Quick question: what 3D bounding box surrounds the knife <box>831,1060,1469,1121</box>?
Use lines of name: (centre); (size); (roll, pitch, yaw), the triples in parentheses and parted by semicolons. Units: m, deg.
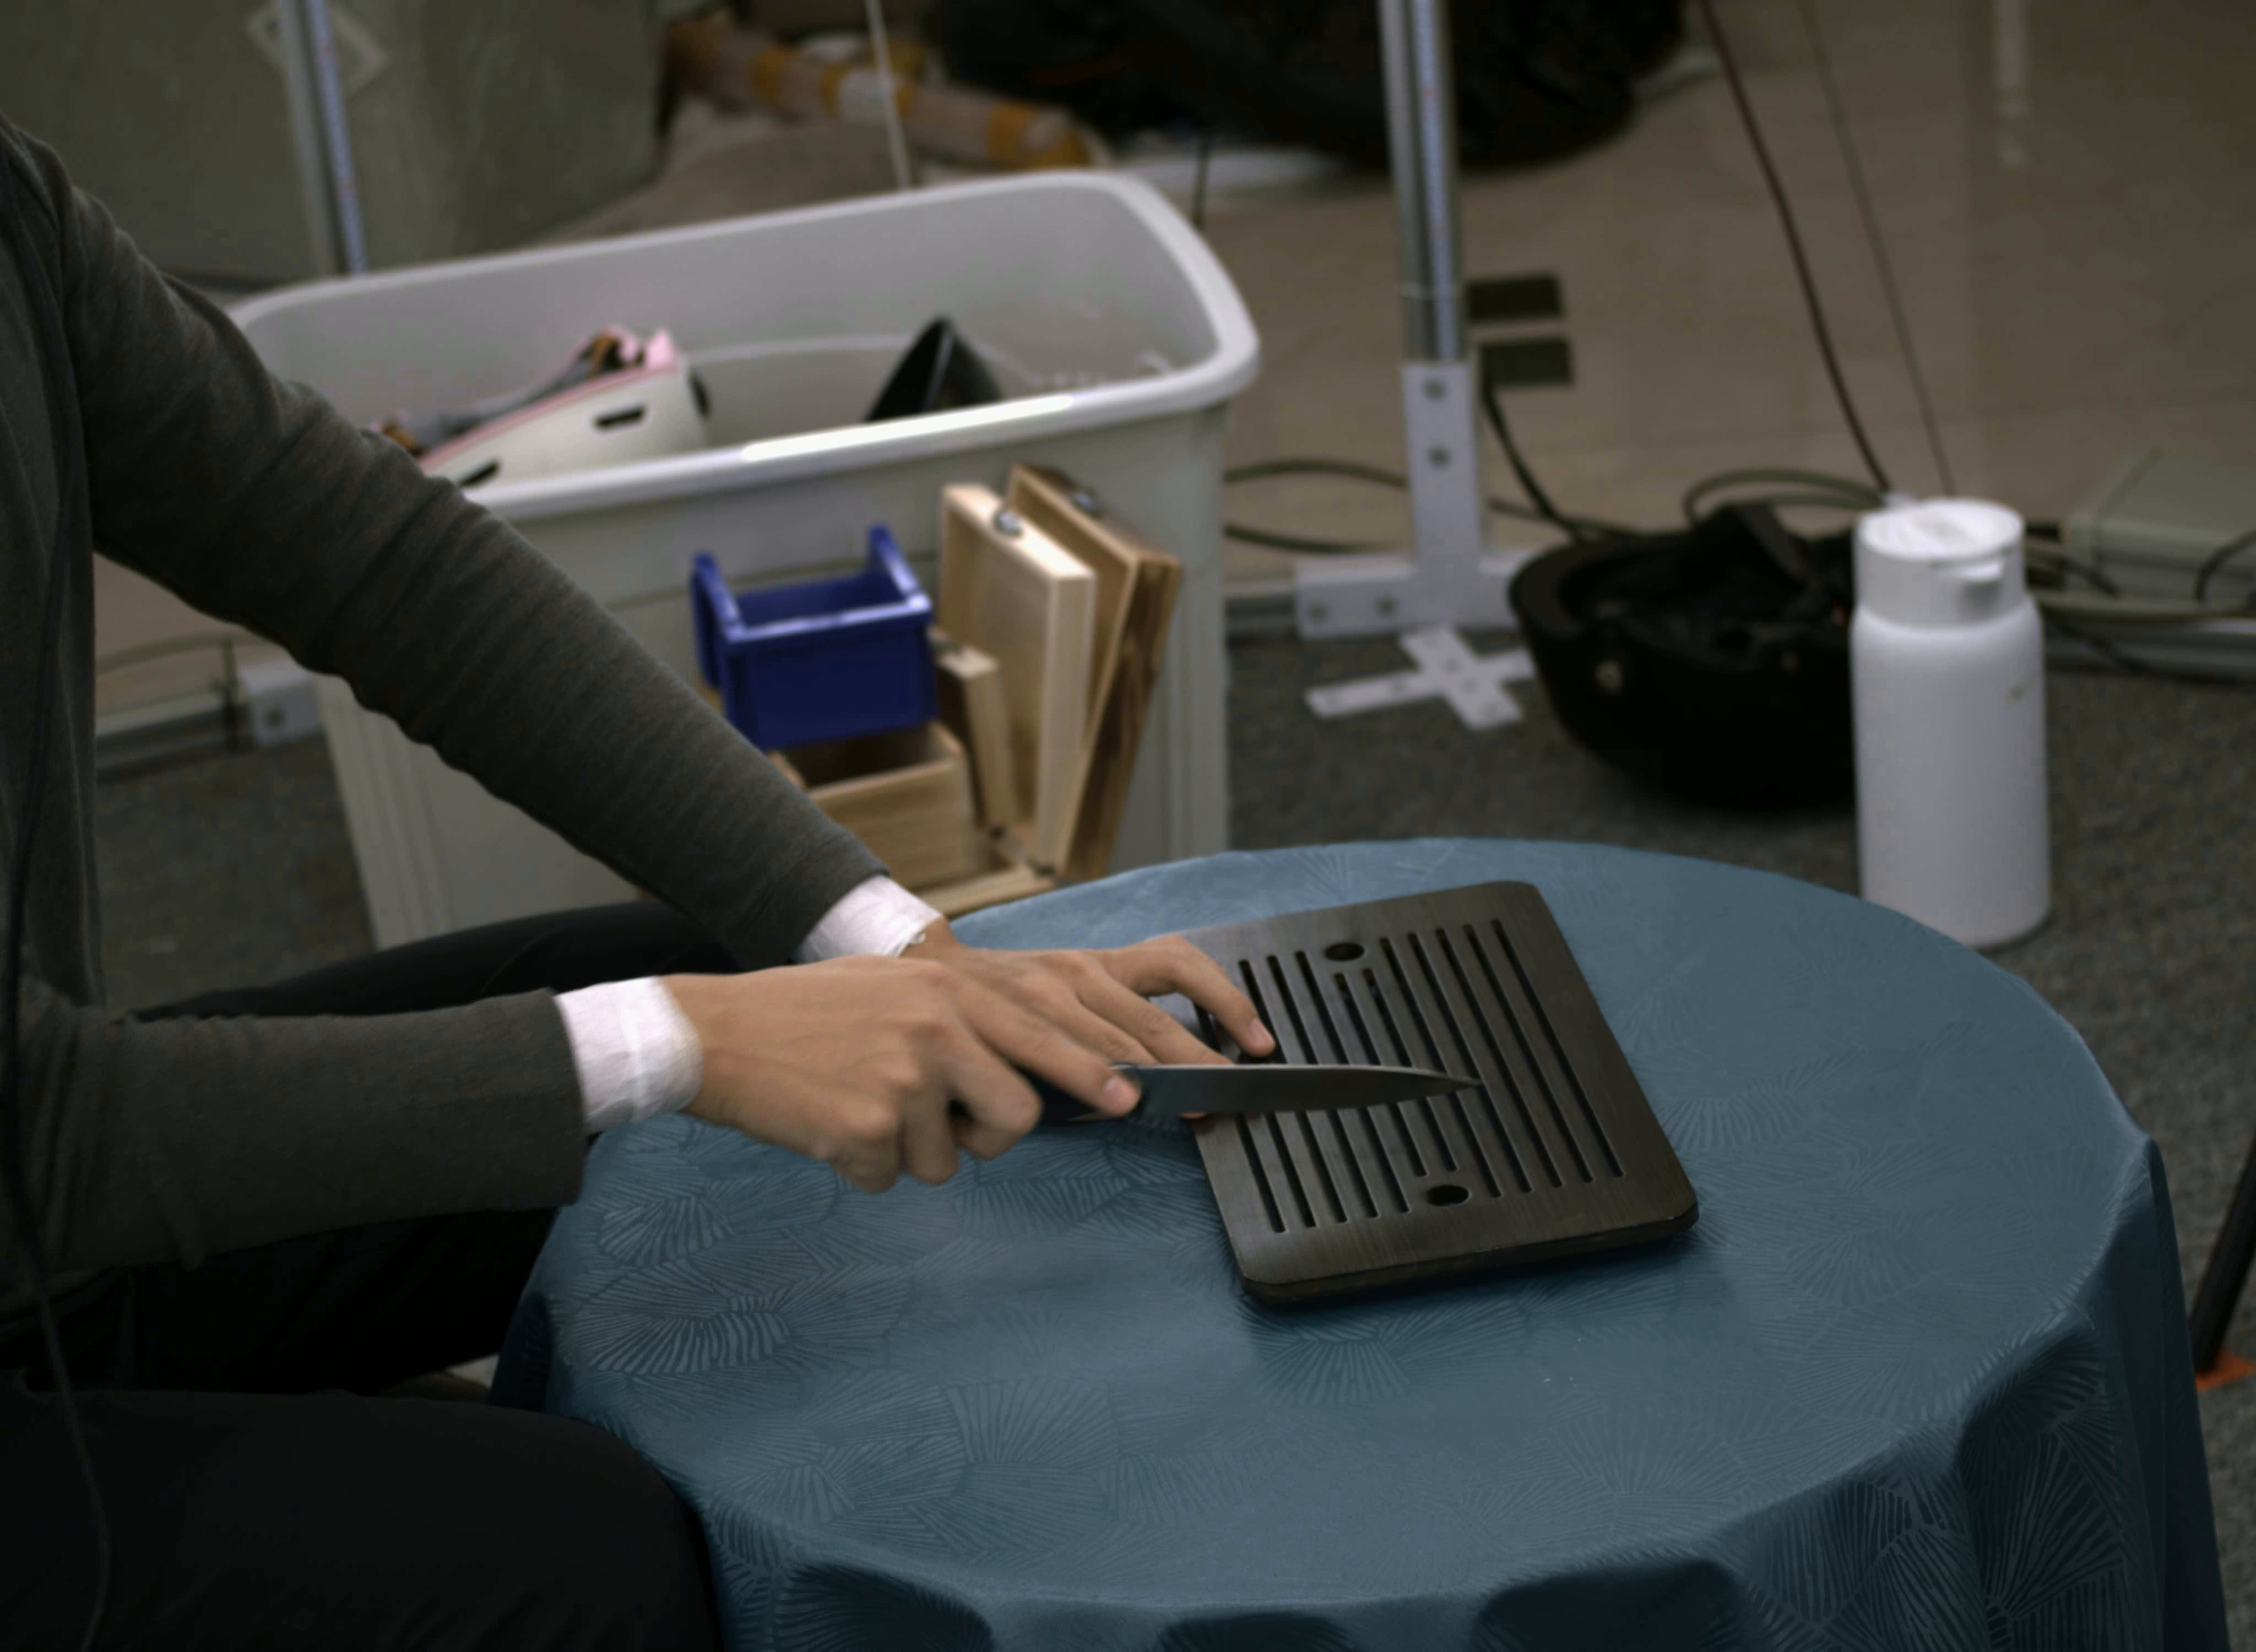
knife: (0.009, 0.098, 2.092); (0.238, 0.025, 0.016); (1, 30, -8)

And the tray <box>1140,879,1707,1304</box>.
tray: (0.108, 0.100, 2.188); (0.170, 0.019, 0.301); (-9, 25, -5)
